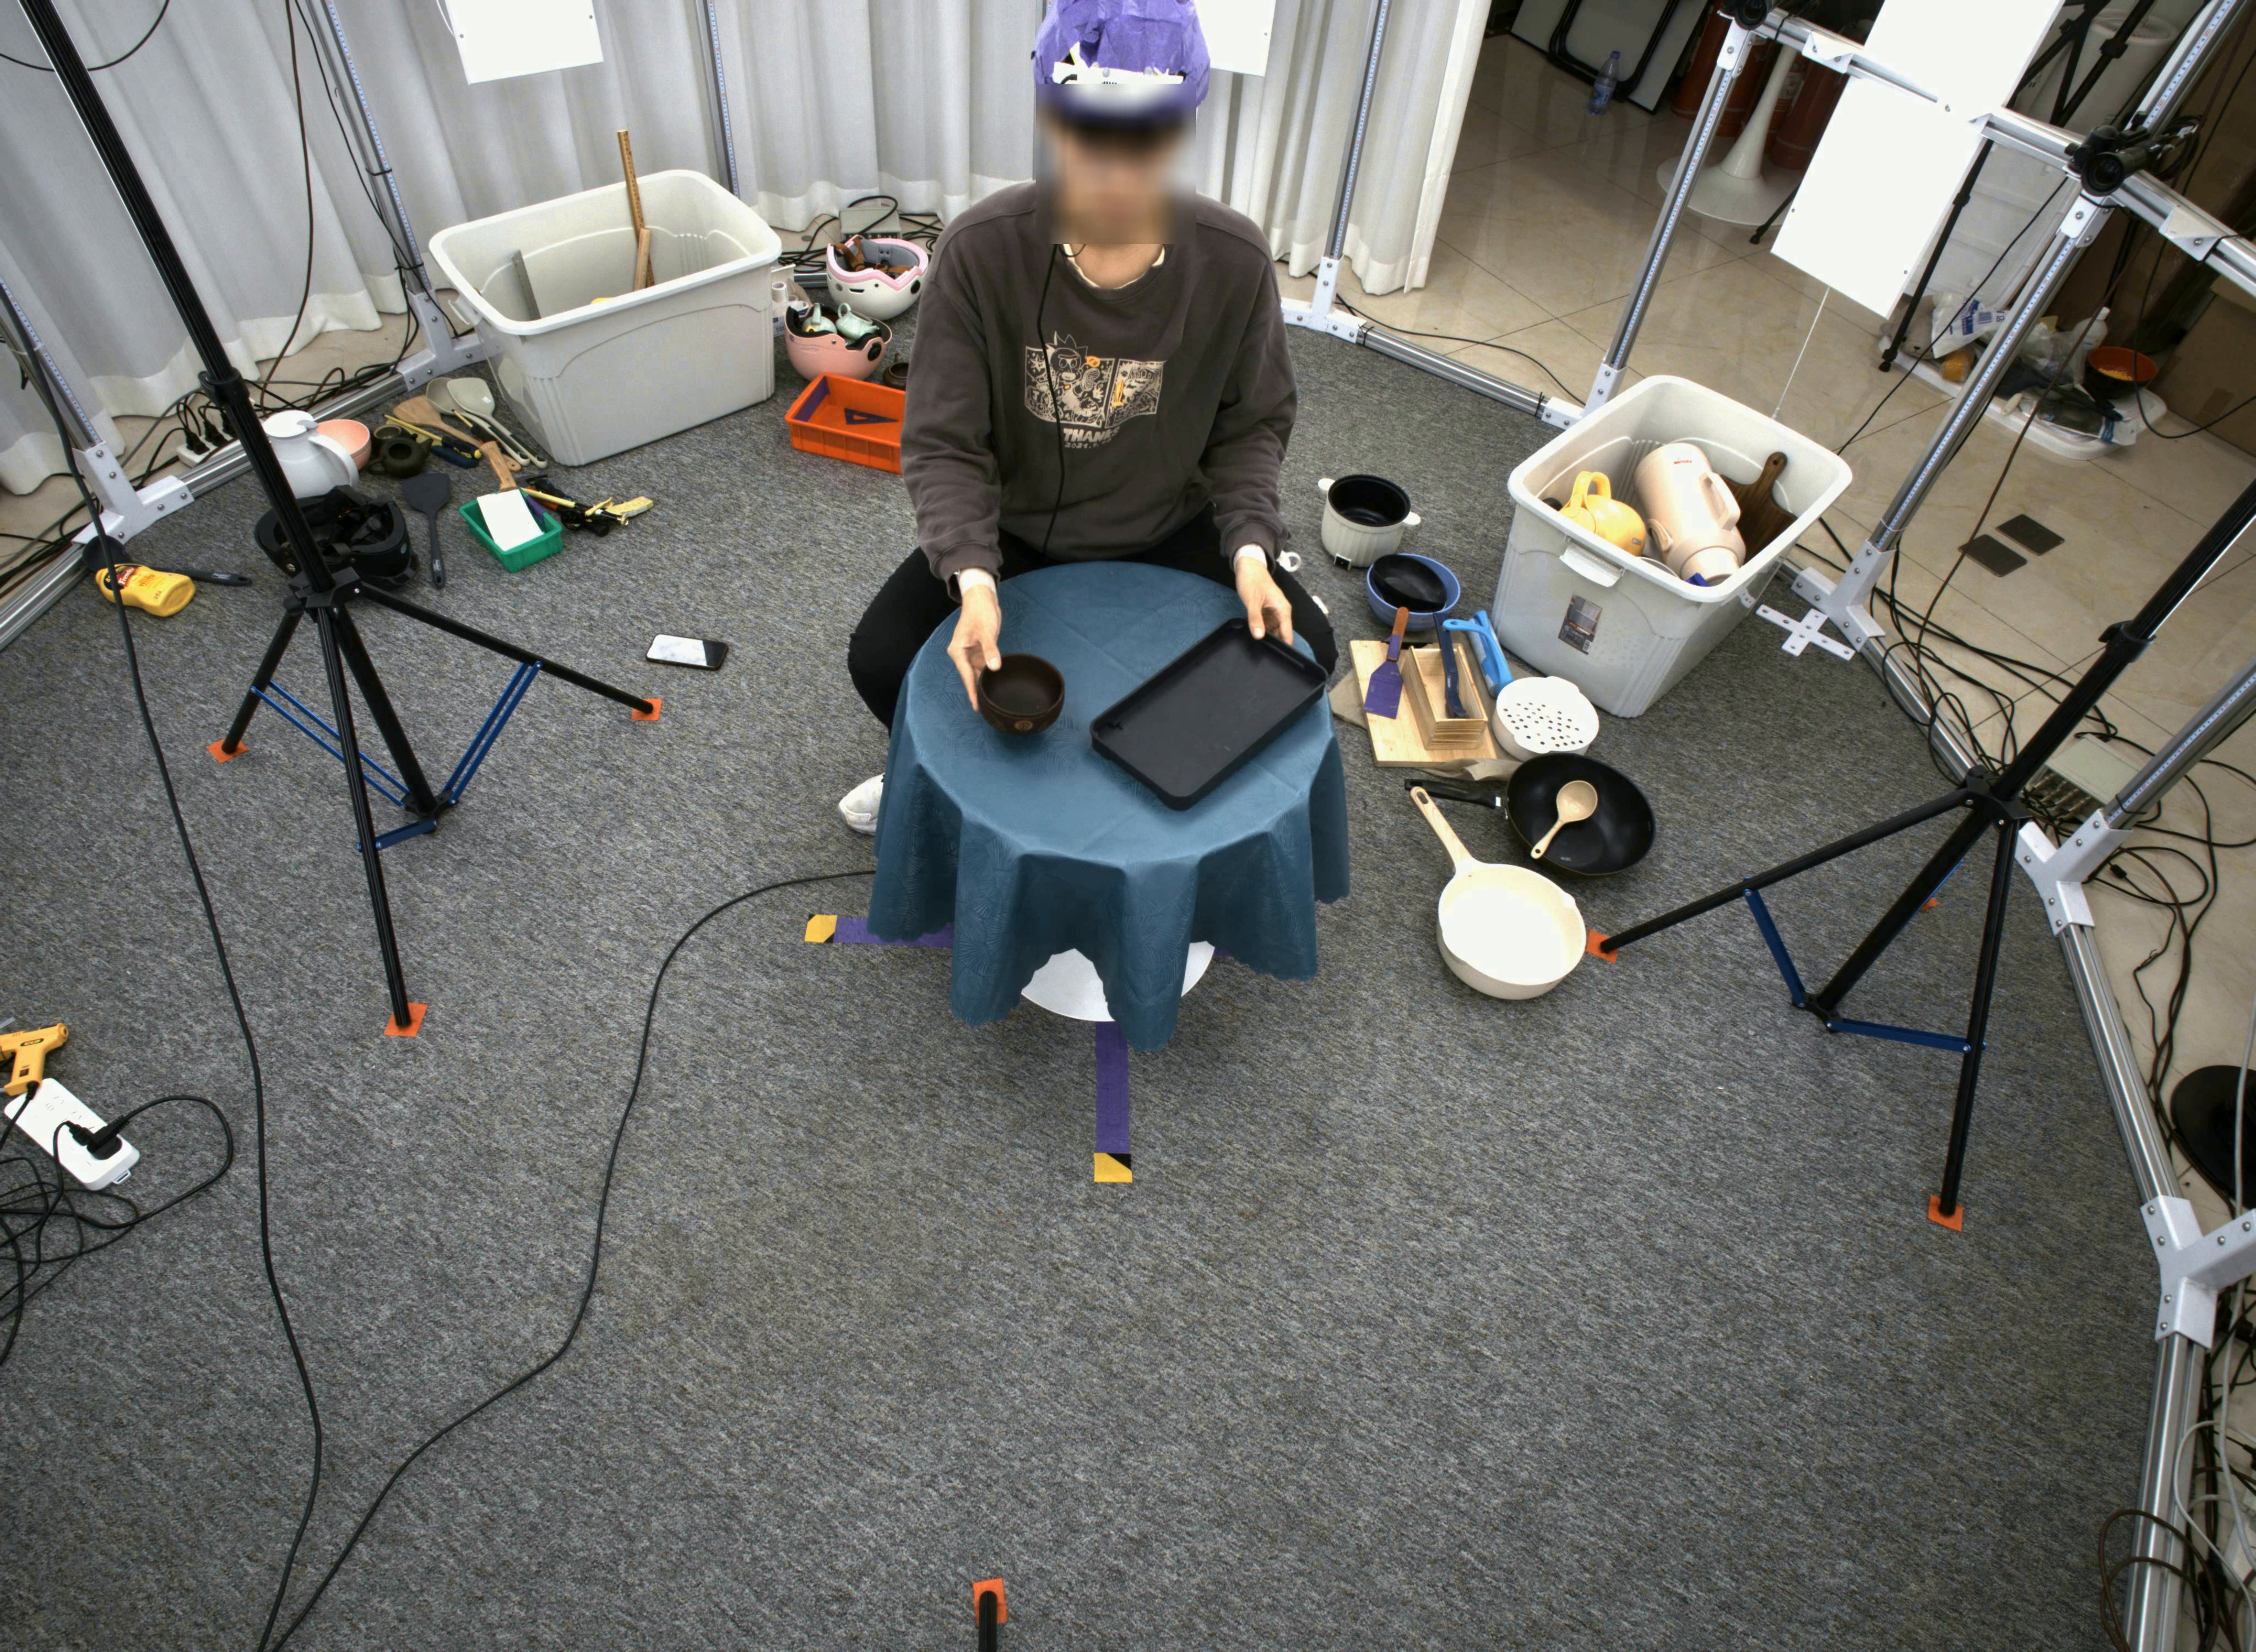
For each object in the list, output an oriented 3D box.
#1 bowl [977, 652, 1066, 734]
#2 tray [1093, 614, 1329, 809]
[{"bbox_3d":[-0.145,-0.171,1.728,0.118,0.068,0.121,5,48,-6],"label":"bowl"},{"bbox_3d":[0.118,-0.165,1.780,0.187,0.036,0.321,35,60,26],"label":"tray"}]
